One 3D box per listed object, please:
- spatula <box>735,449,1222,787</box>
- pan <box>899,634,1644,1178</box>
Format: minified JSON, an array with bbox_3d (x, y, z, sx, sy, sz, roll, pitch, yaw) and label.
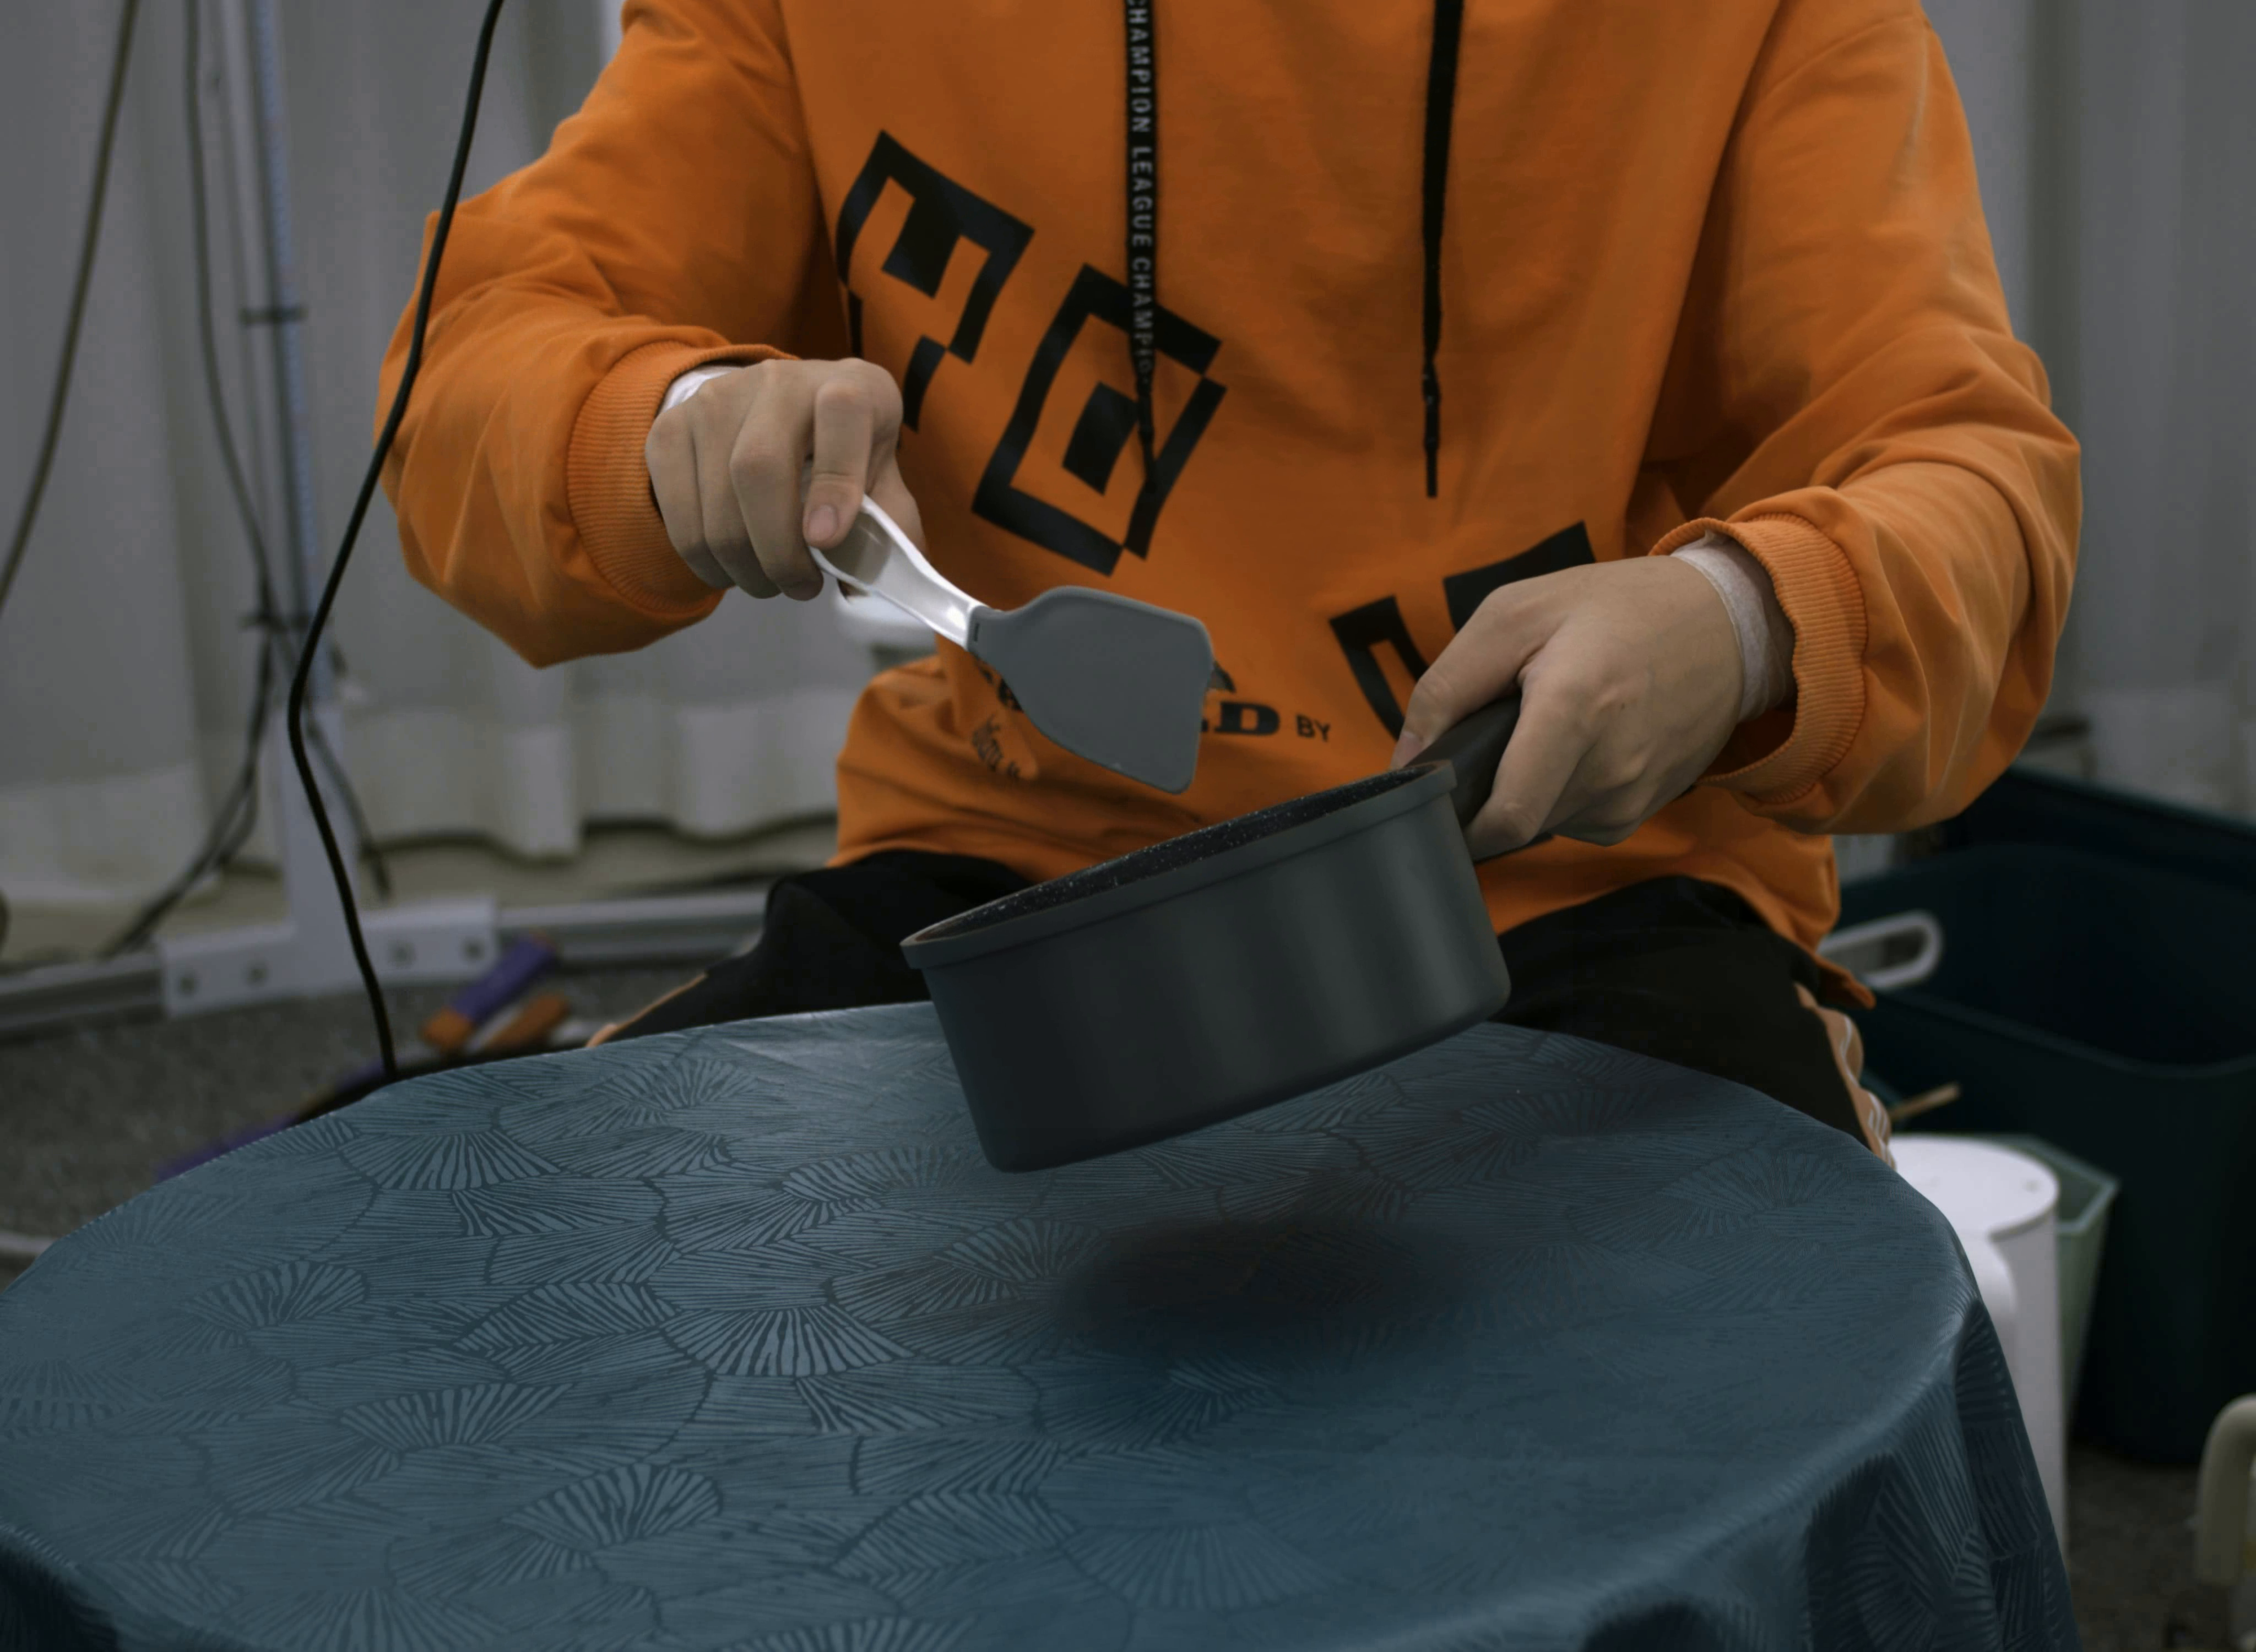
[{"bbox_3d":[-0.050,-0.072,1.686,0.032,0.058,0.290,9,10,-30],"label":"spatula"},{"bbox_3d":[0.070,0.021,1.669,0.172,0.086,0.329,-16,5,39],"label":"pan"}]
